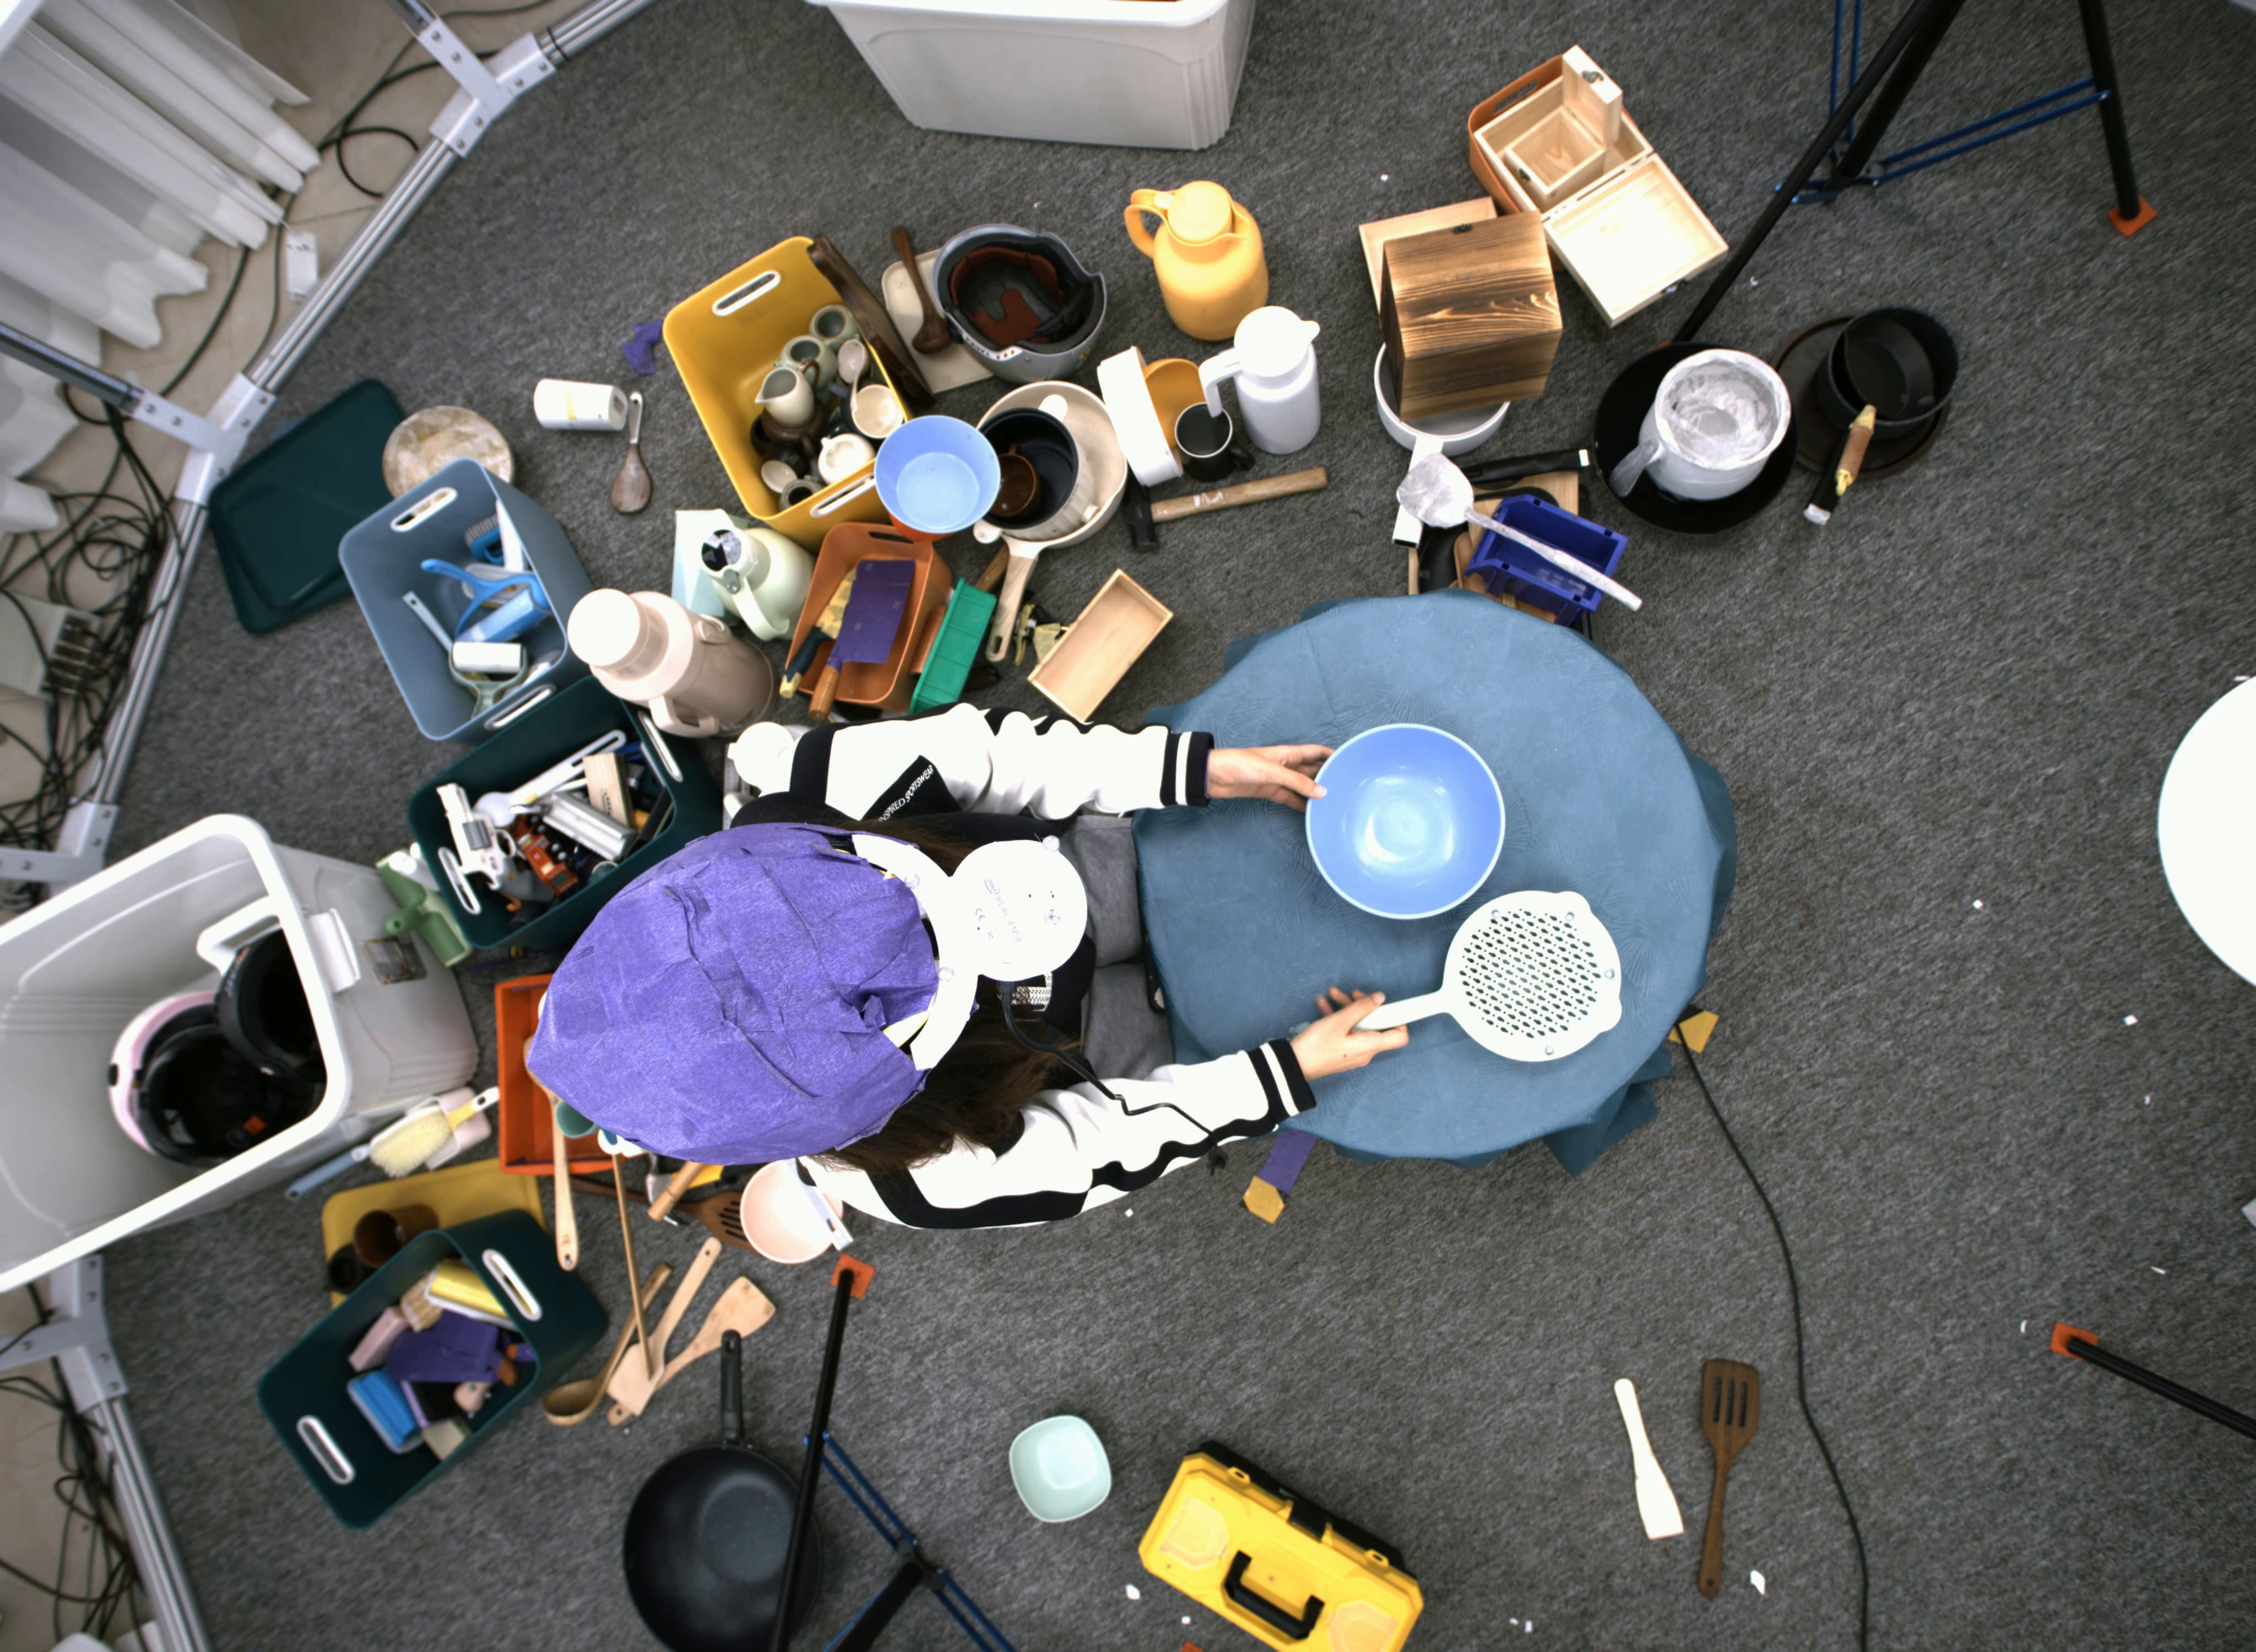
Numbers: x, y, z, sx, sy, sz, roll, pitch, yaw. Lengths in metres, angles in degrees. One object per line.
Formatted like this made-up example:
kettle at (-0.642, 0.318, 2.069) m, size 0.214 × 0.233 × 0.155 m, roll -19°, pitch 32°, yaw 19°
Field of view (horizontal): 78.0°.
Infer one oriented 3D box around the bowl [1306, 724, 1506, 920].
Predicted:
bowl at (0.283, -0.002, 1.414) m, size 0.197 × 0.095 × 0.195 m, roll -1°, pitch 87°, yaw 10°

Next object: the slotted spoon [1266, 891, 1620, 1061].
slotted spoon at (0.315, 0.177, 1.410) m, size 0.360 × 0.075 × 0.168 m, roll -17°, pitch 85°, yaw 6°
